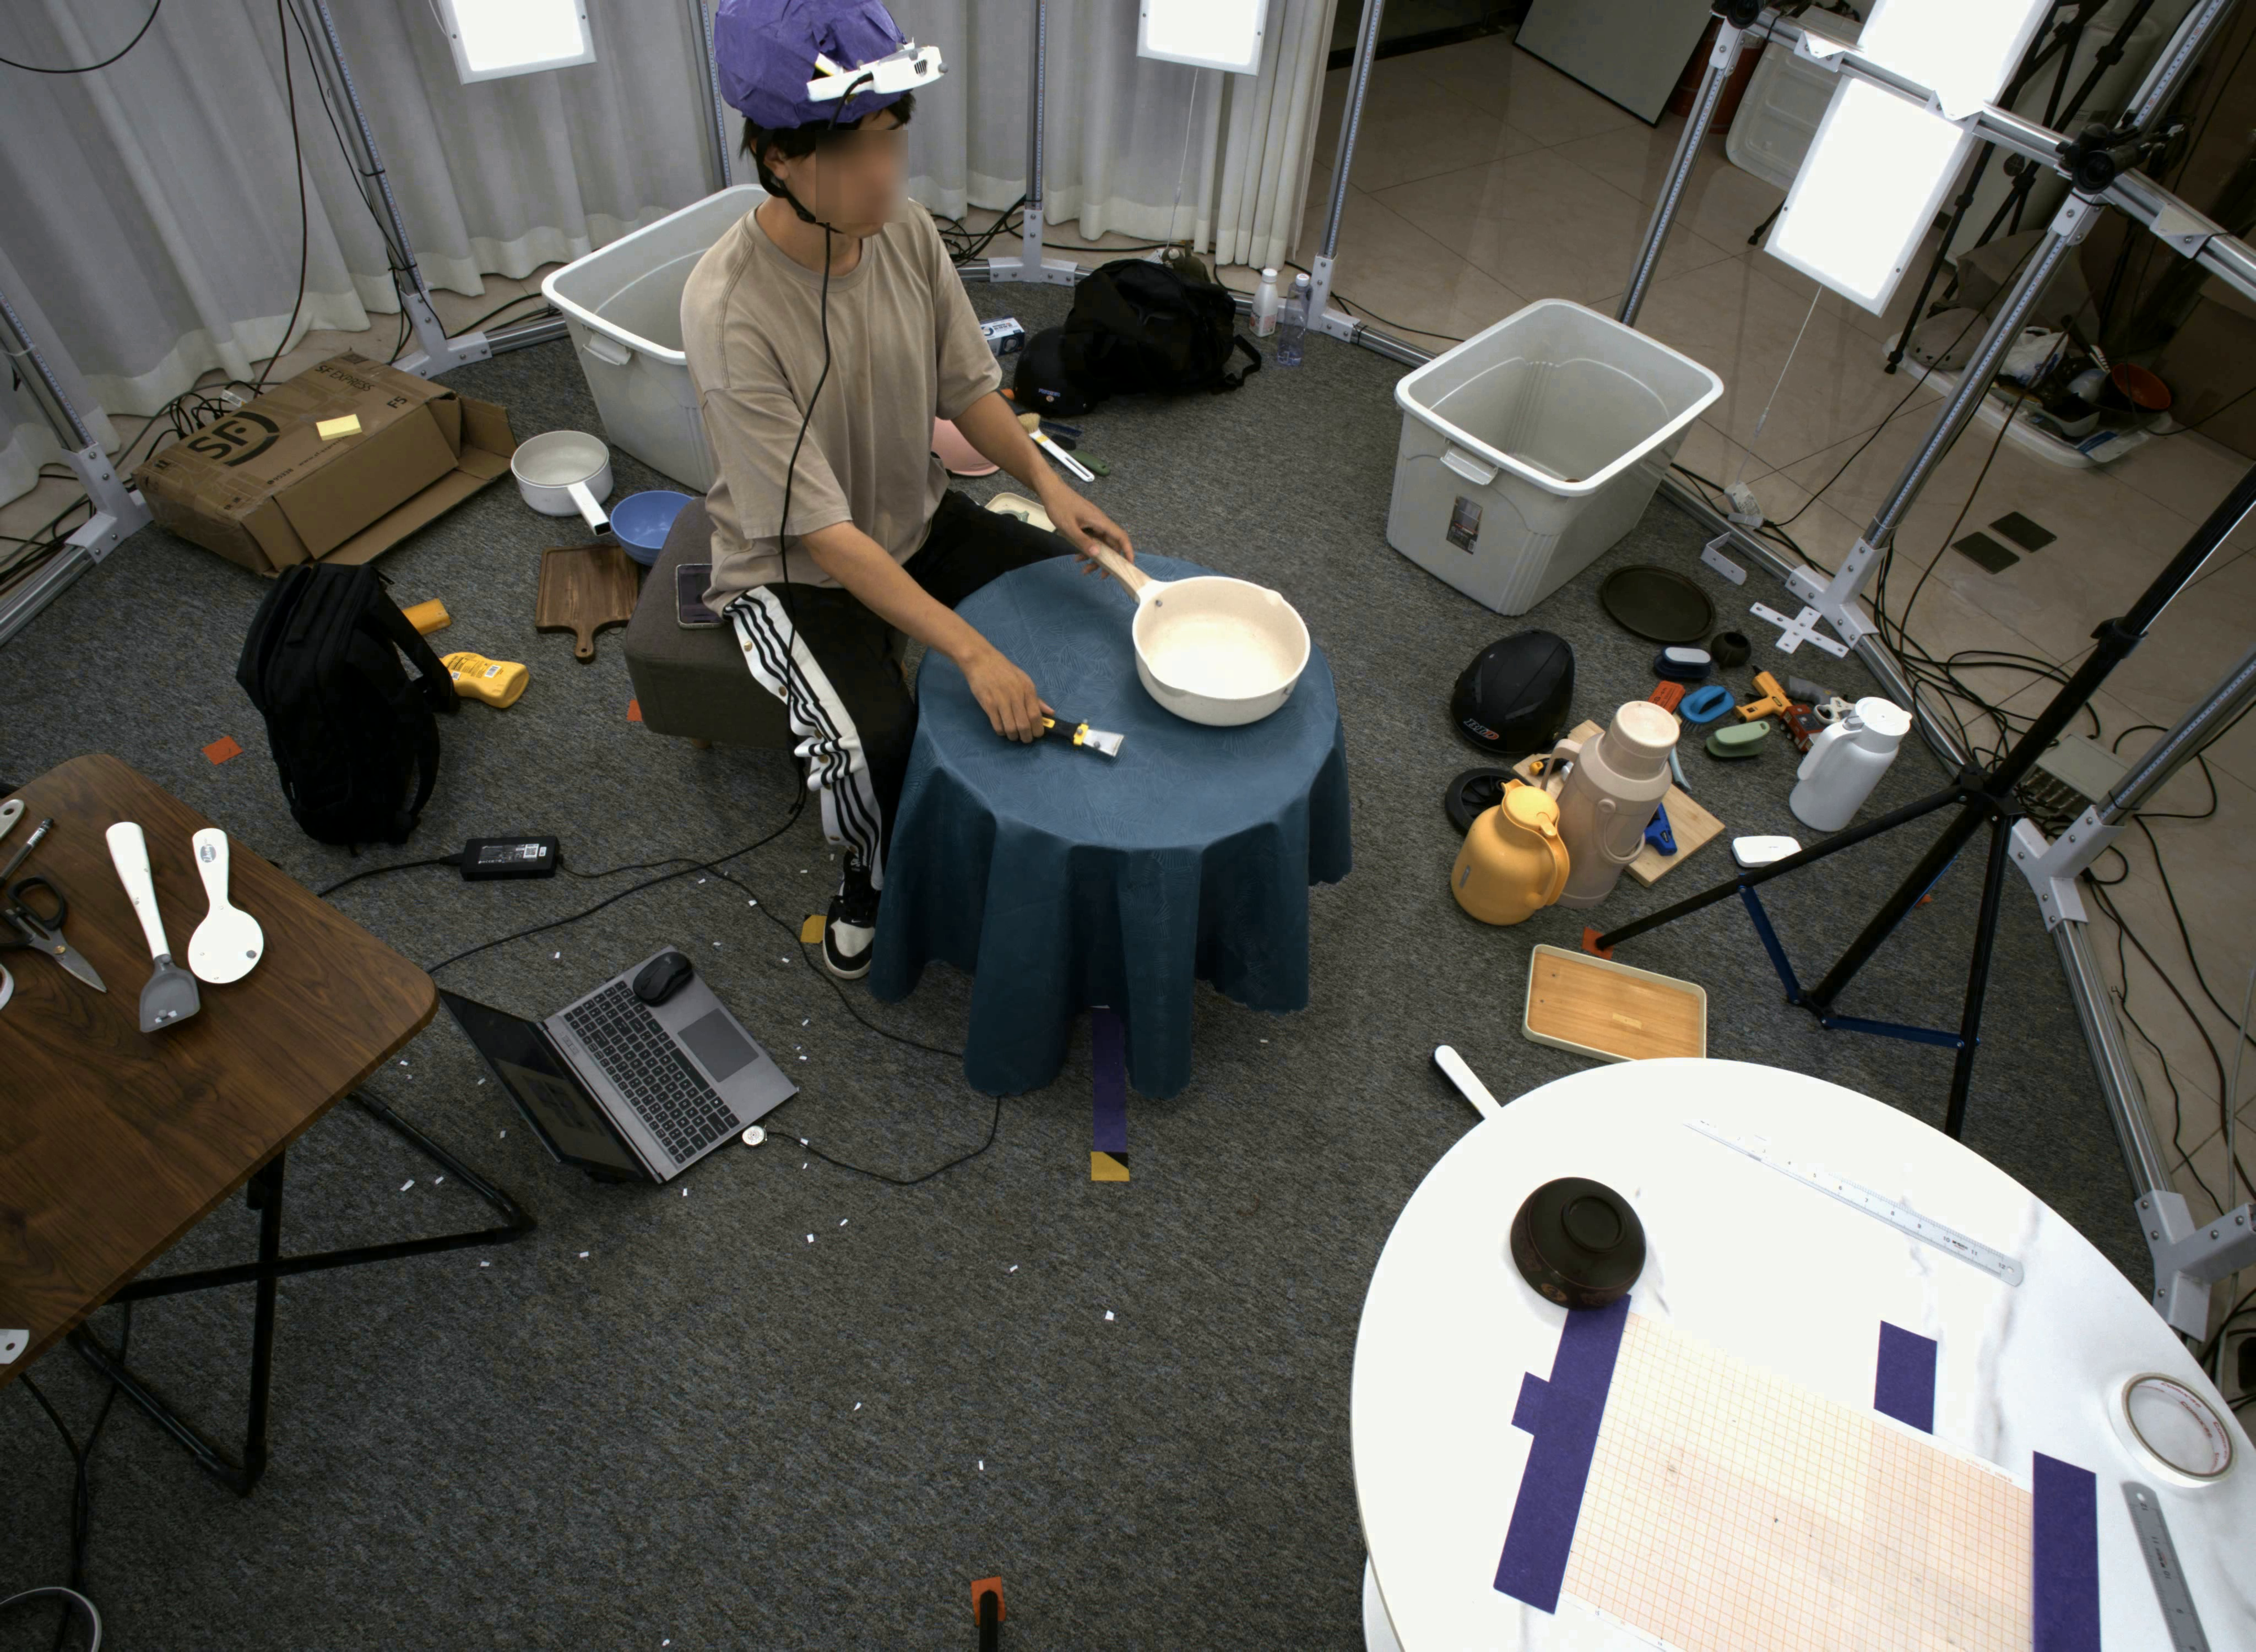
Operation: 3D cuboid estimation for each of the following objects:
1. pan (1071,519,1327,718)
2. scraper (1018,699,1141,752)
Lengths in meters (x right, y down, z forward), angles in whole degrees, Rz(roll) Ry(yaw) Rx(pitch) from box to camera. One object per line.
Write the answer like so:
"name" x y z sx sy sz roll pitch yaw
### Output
"pan" 0.084 -0.309 1.872 0.440 0.099 0.266 35 57 24
"scraper" -0.068 -0.139 1.747 0.171 0.014 0.039 16 70 9
